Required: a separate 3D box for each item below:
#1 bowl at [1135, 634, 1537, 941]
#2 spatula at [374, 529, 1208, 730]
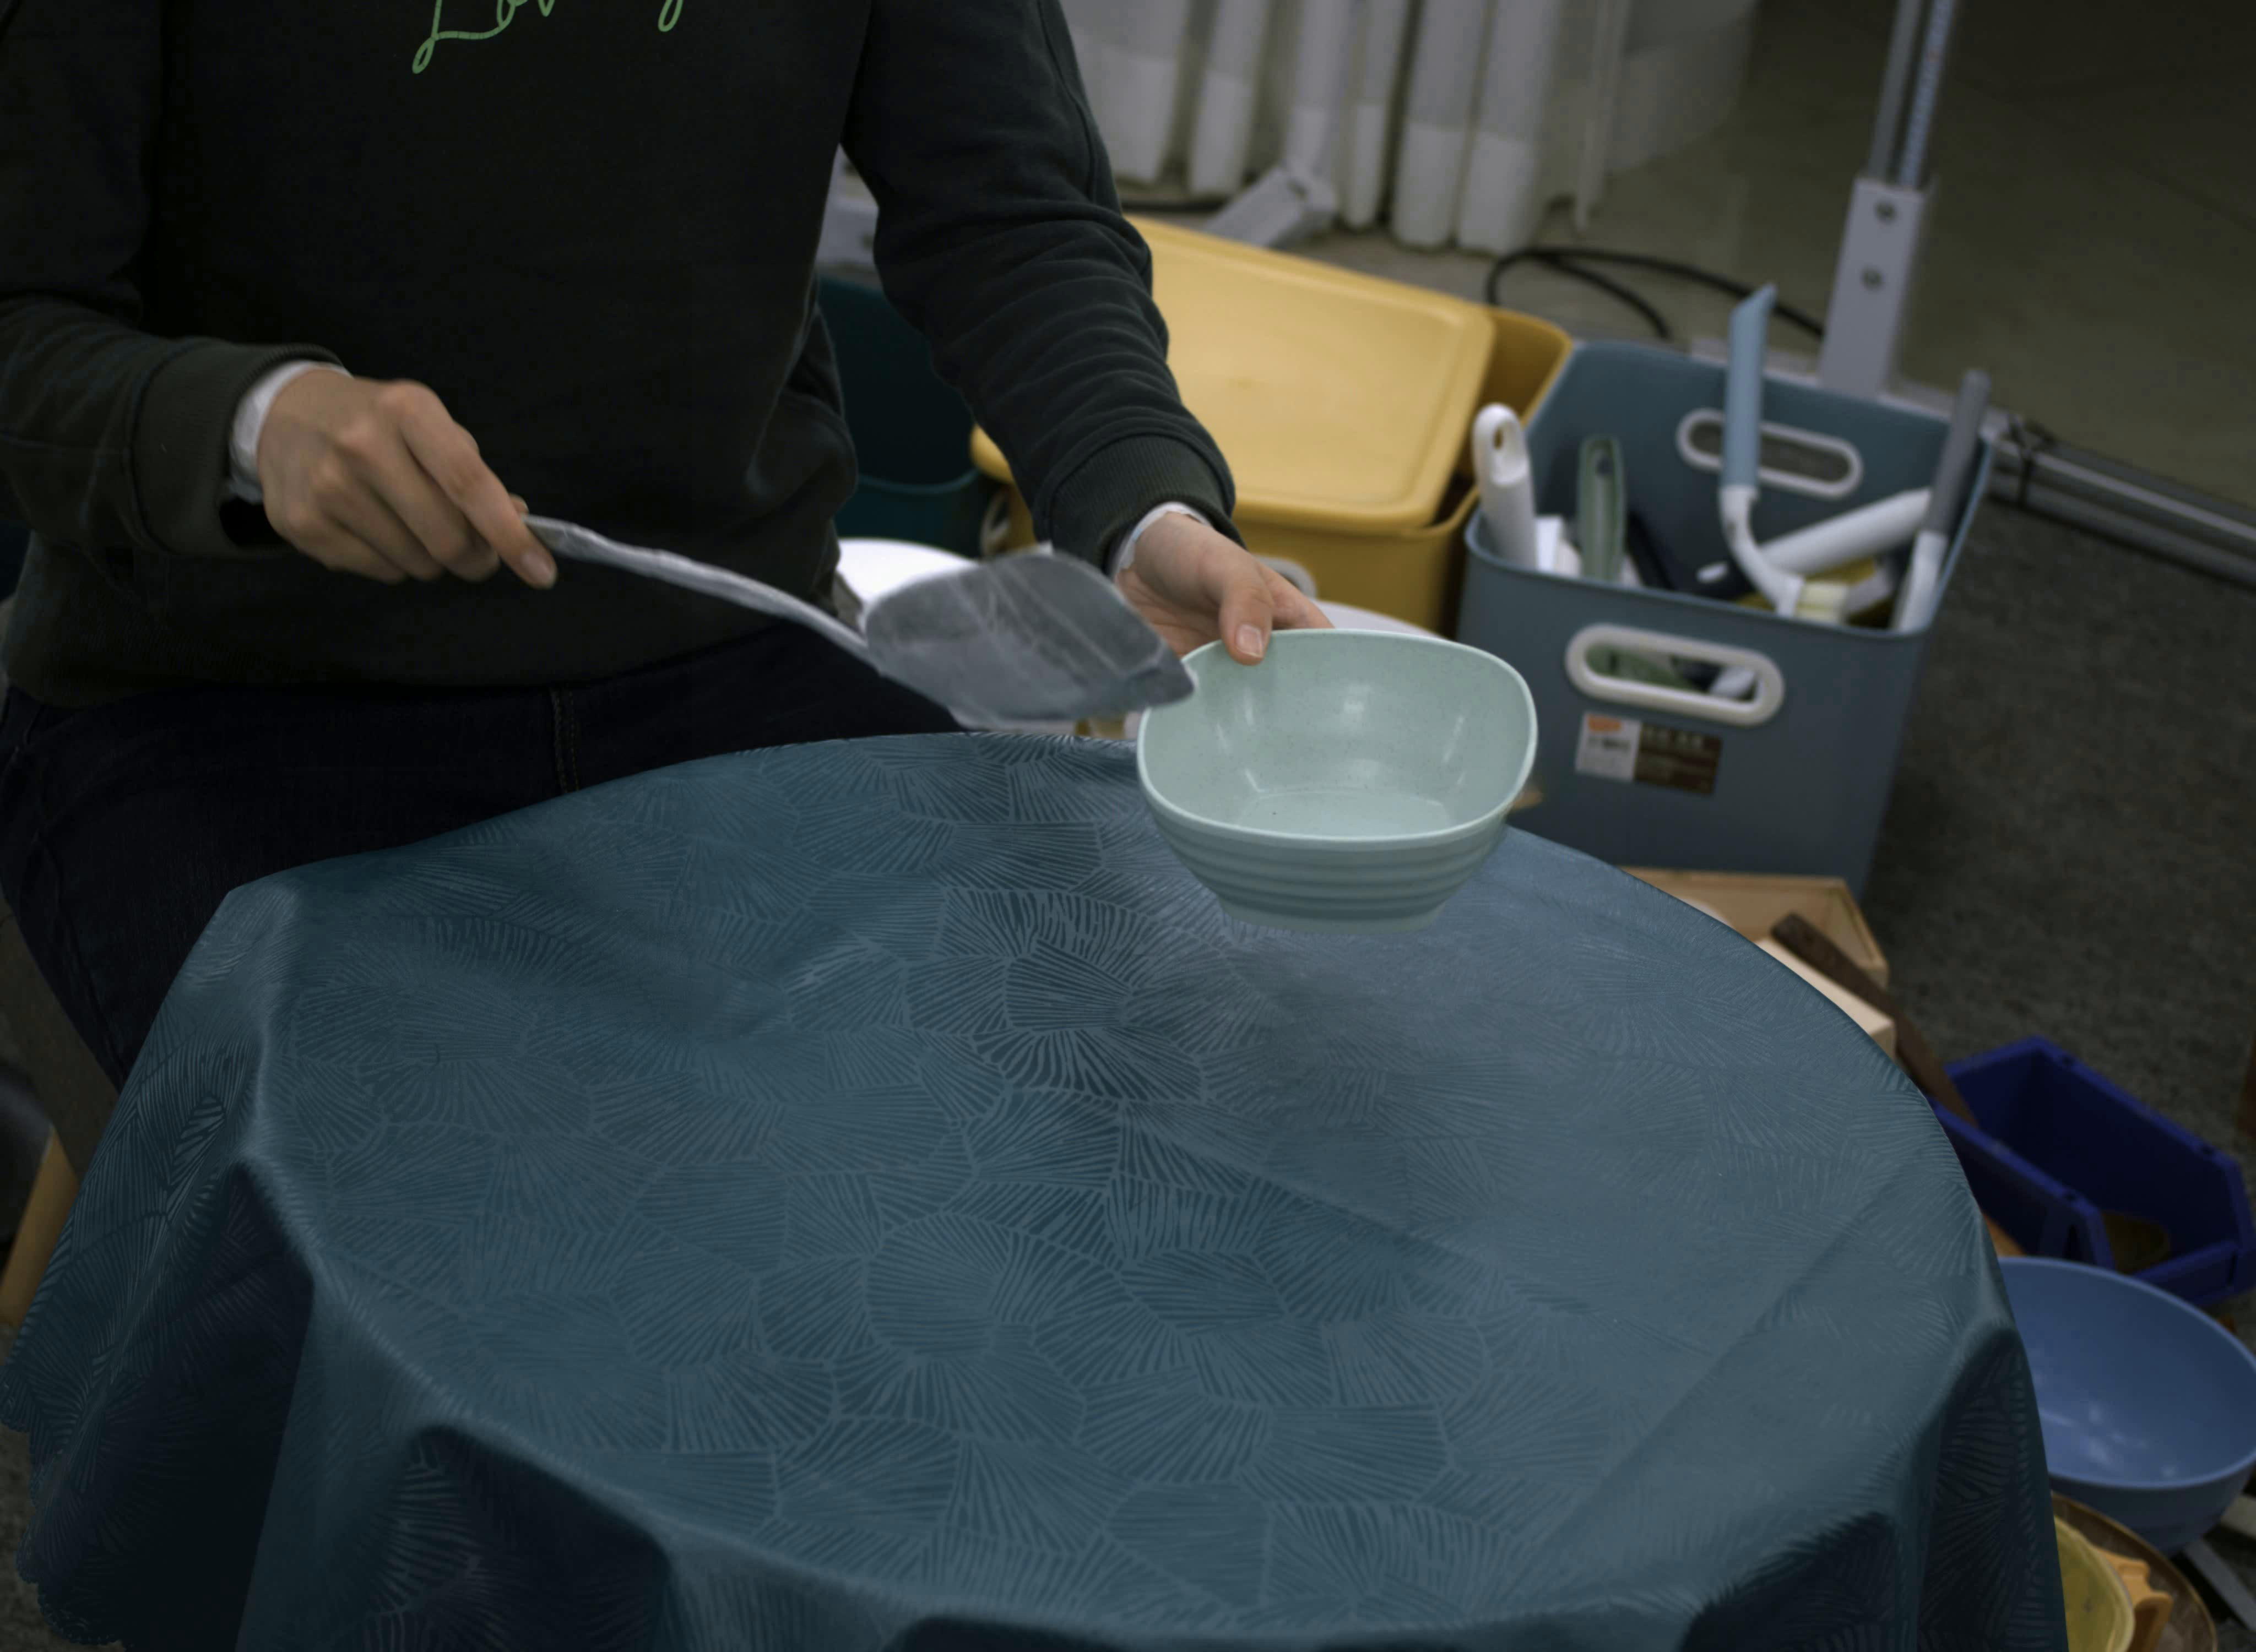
[{"bbox_3d":[0.072,-0.007,1.860,0.151,0.058,0.152,1,32,-1],"label":"bowl"},{"bbox_3d":[-0.132,-0.080,1.788,0.367,0.045,0.098,15,-17,41],"label":"spatula"}]
